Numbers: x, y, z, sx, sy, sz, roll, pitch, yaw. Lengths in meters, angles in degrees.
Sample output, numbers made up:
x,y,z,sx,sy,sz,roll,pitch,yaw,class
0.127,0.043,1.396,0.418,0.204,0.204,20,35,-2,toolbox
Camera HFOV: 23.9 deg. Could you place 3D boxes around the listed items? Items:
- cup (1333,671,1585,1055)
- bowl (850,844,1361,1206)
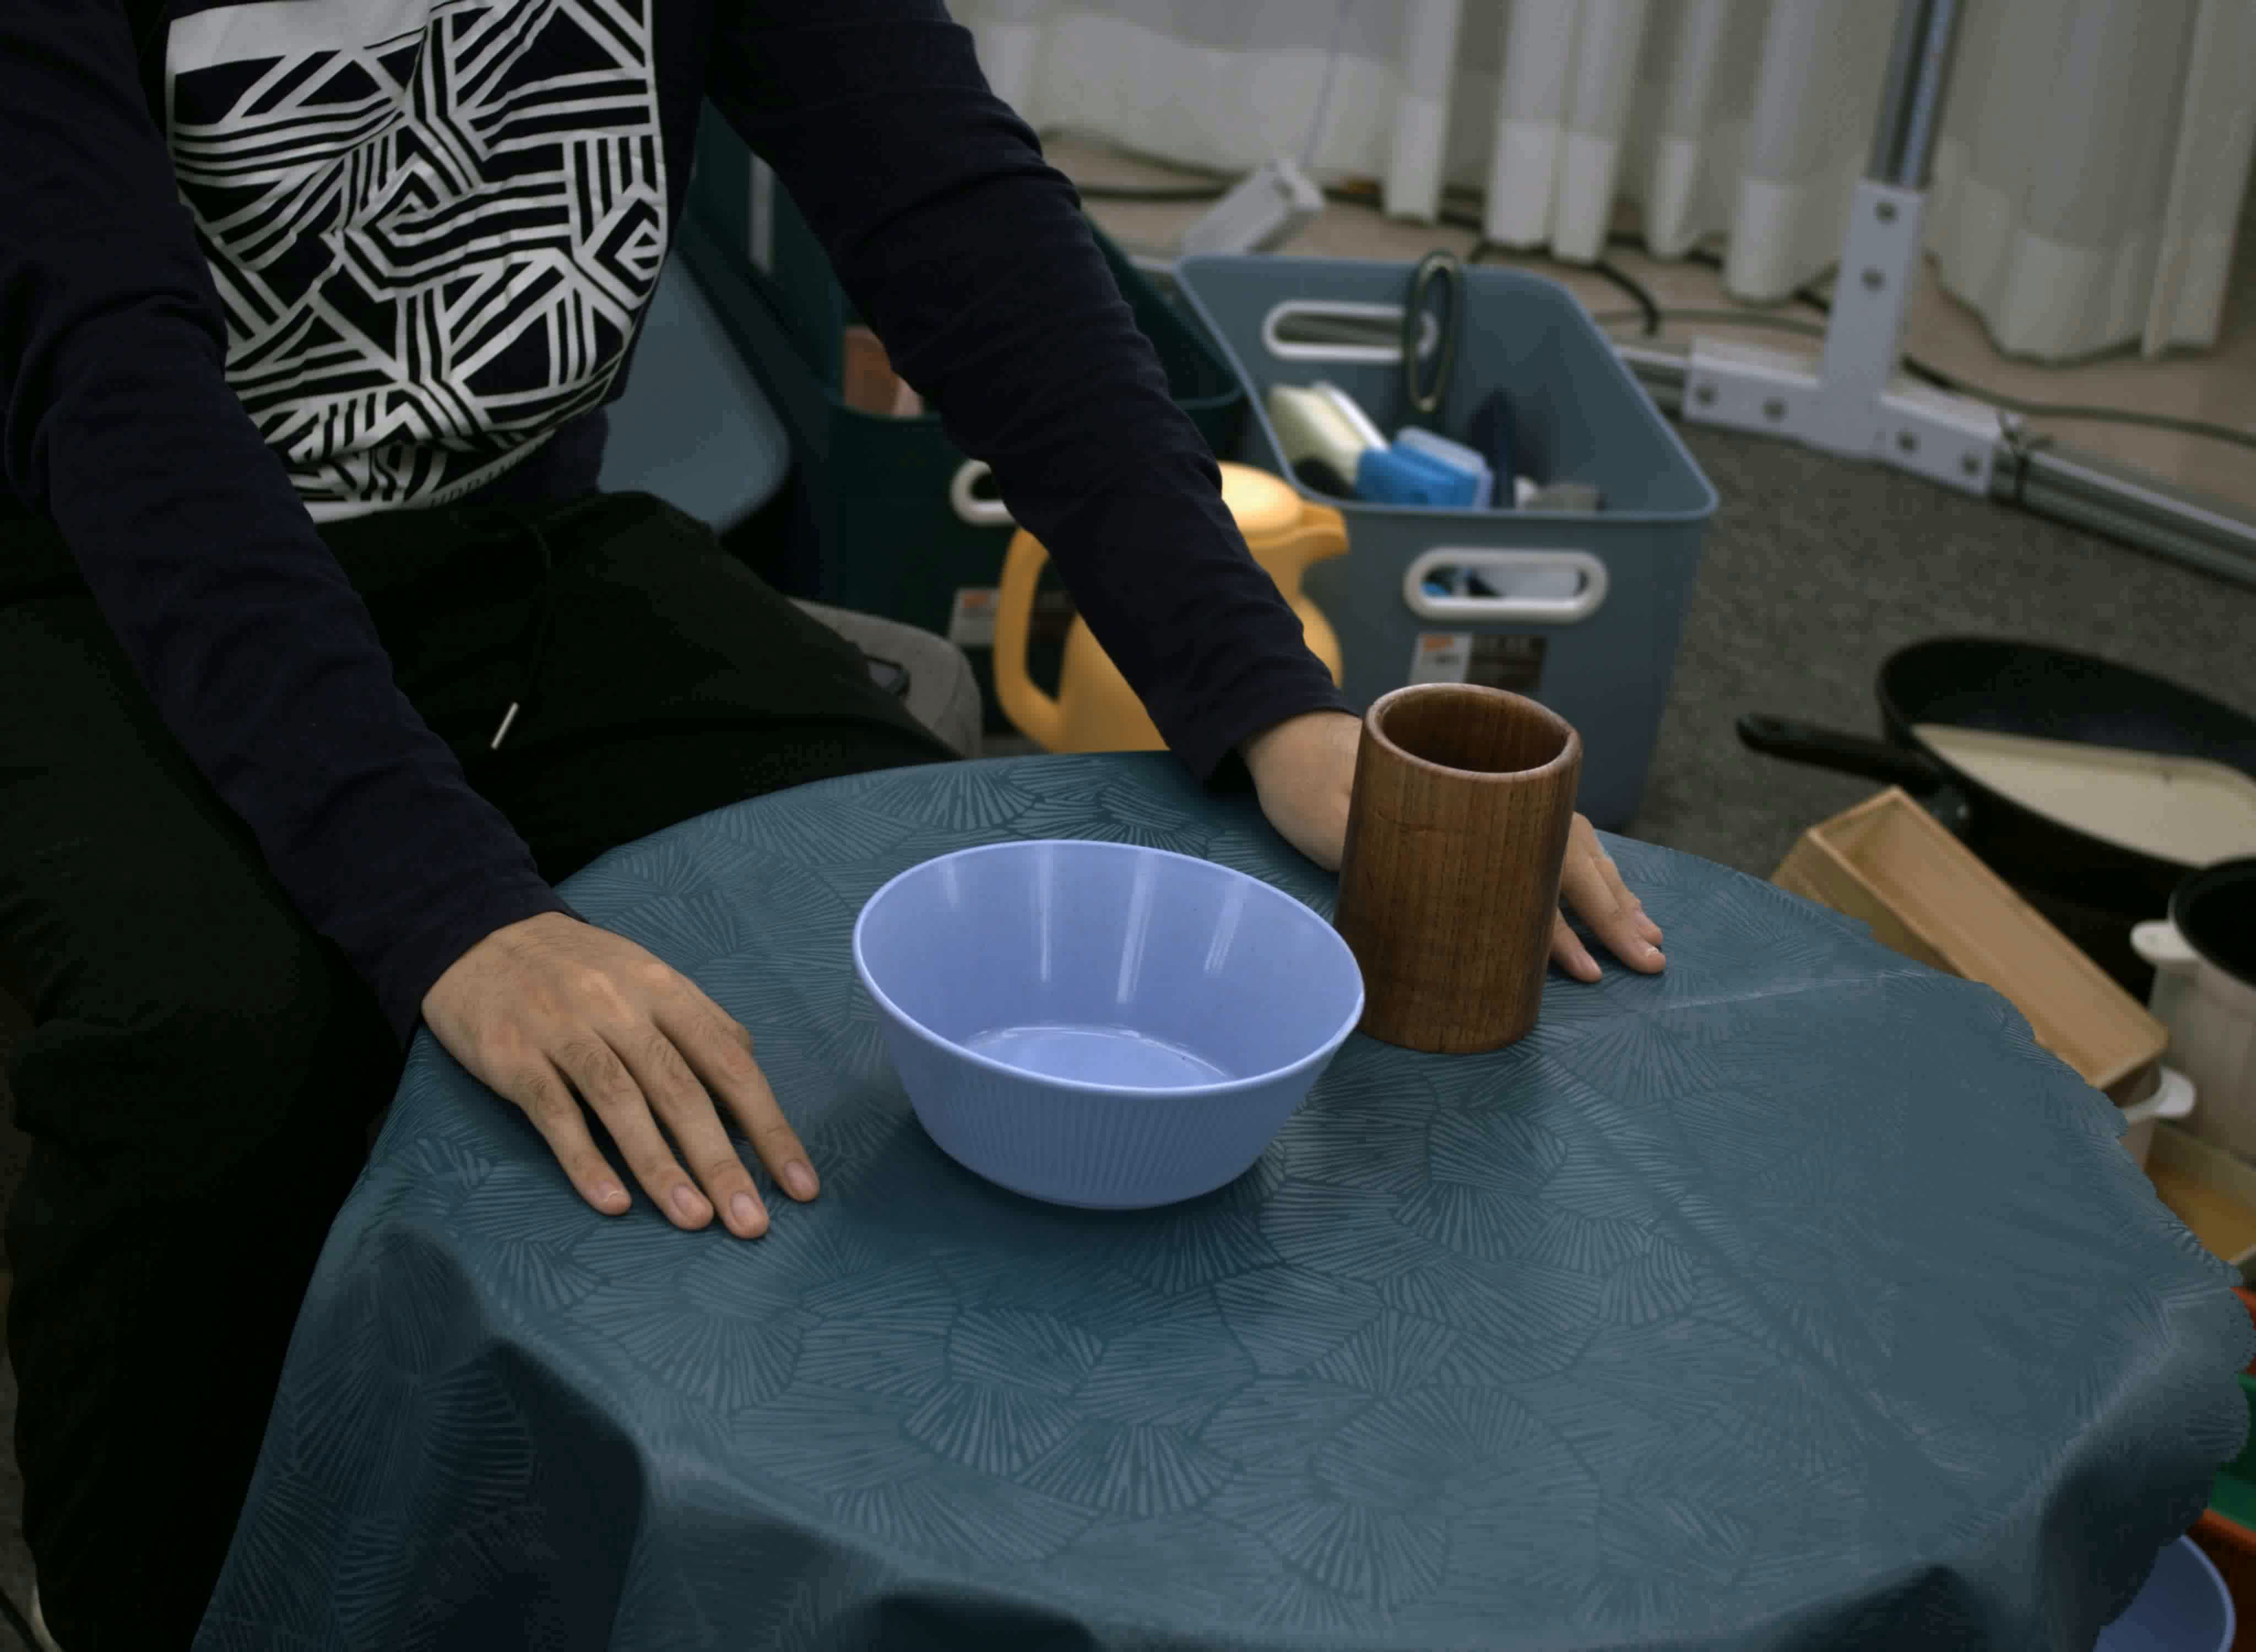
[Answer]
x,y,z,sx,sy,sz,roll,pitch,yaw,class
0.117,0.013,1.921,0.087,0.118,0.088,5,24,-3,cup
-0.011,0.074,1.824,0.175,0.070,0.177,5,26,-3,bowl
